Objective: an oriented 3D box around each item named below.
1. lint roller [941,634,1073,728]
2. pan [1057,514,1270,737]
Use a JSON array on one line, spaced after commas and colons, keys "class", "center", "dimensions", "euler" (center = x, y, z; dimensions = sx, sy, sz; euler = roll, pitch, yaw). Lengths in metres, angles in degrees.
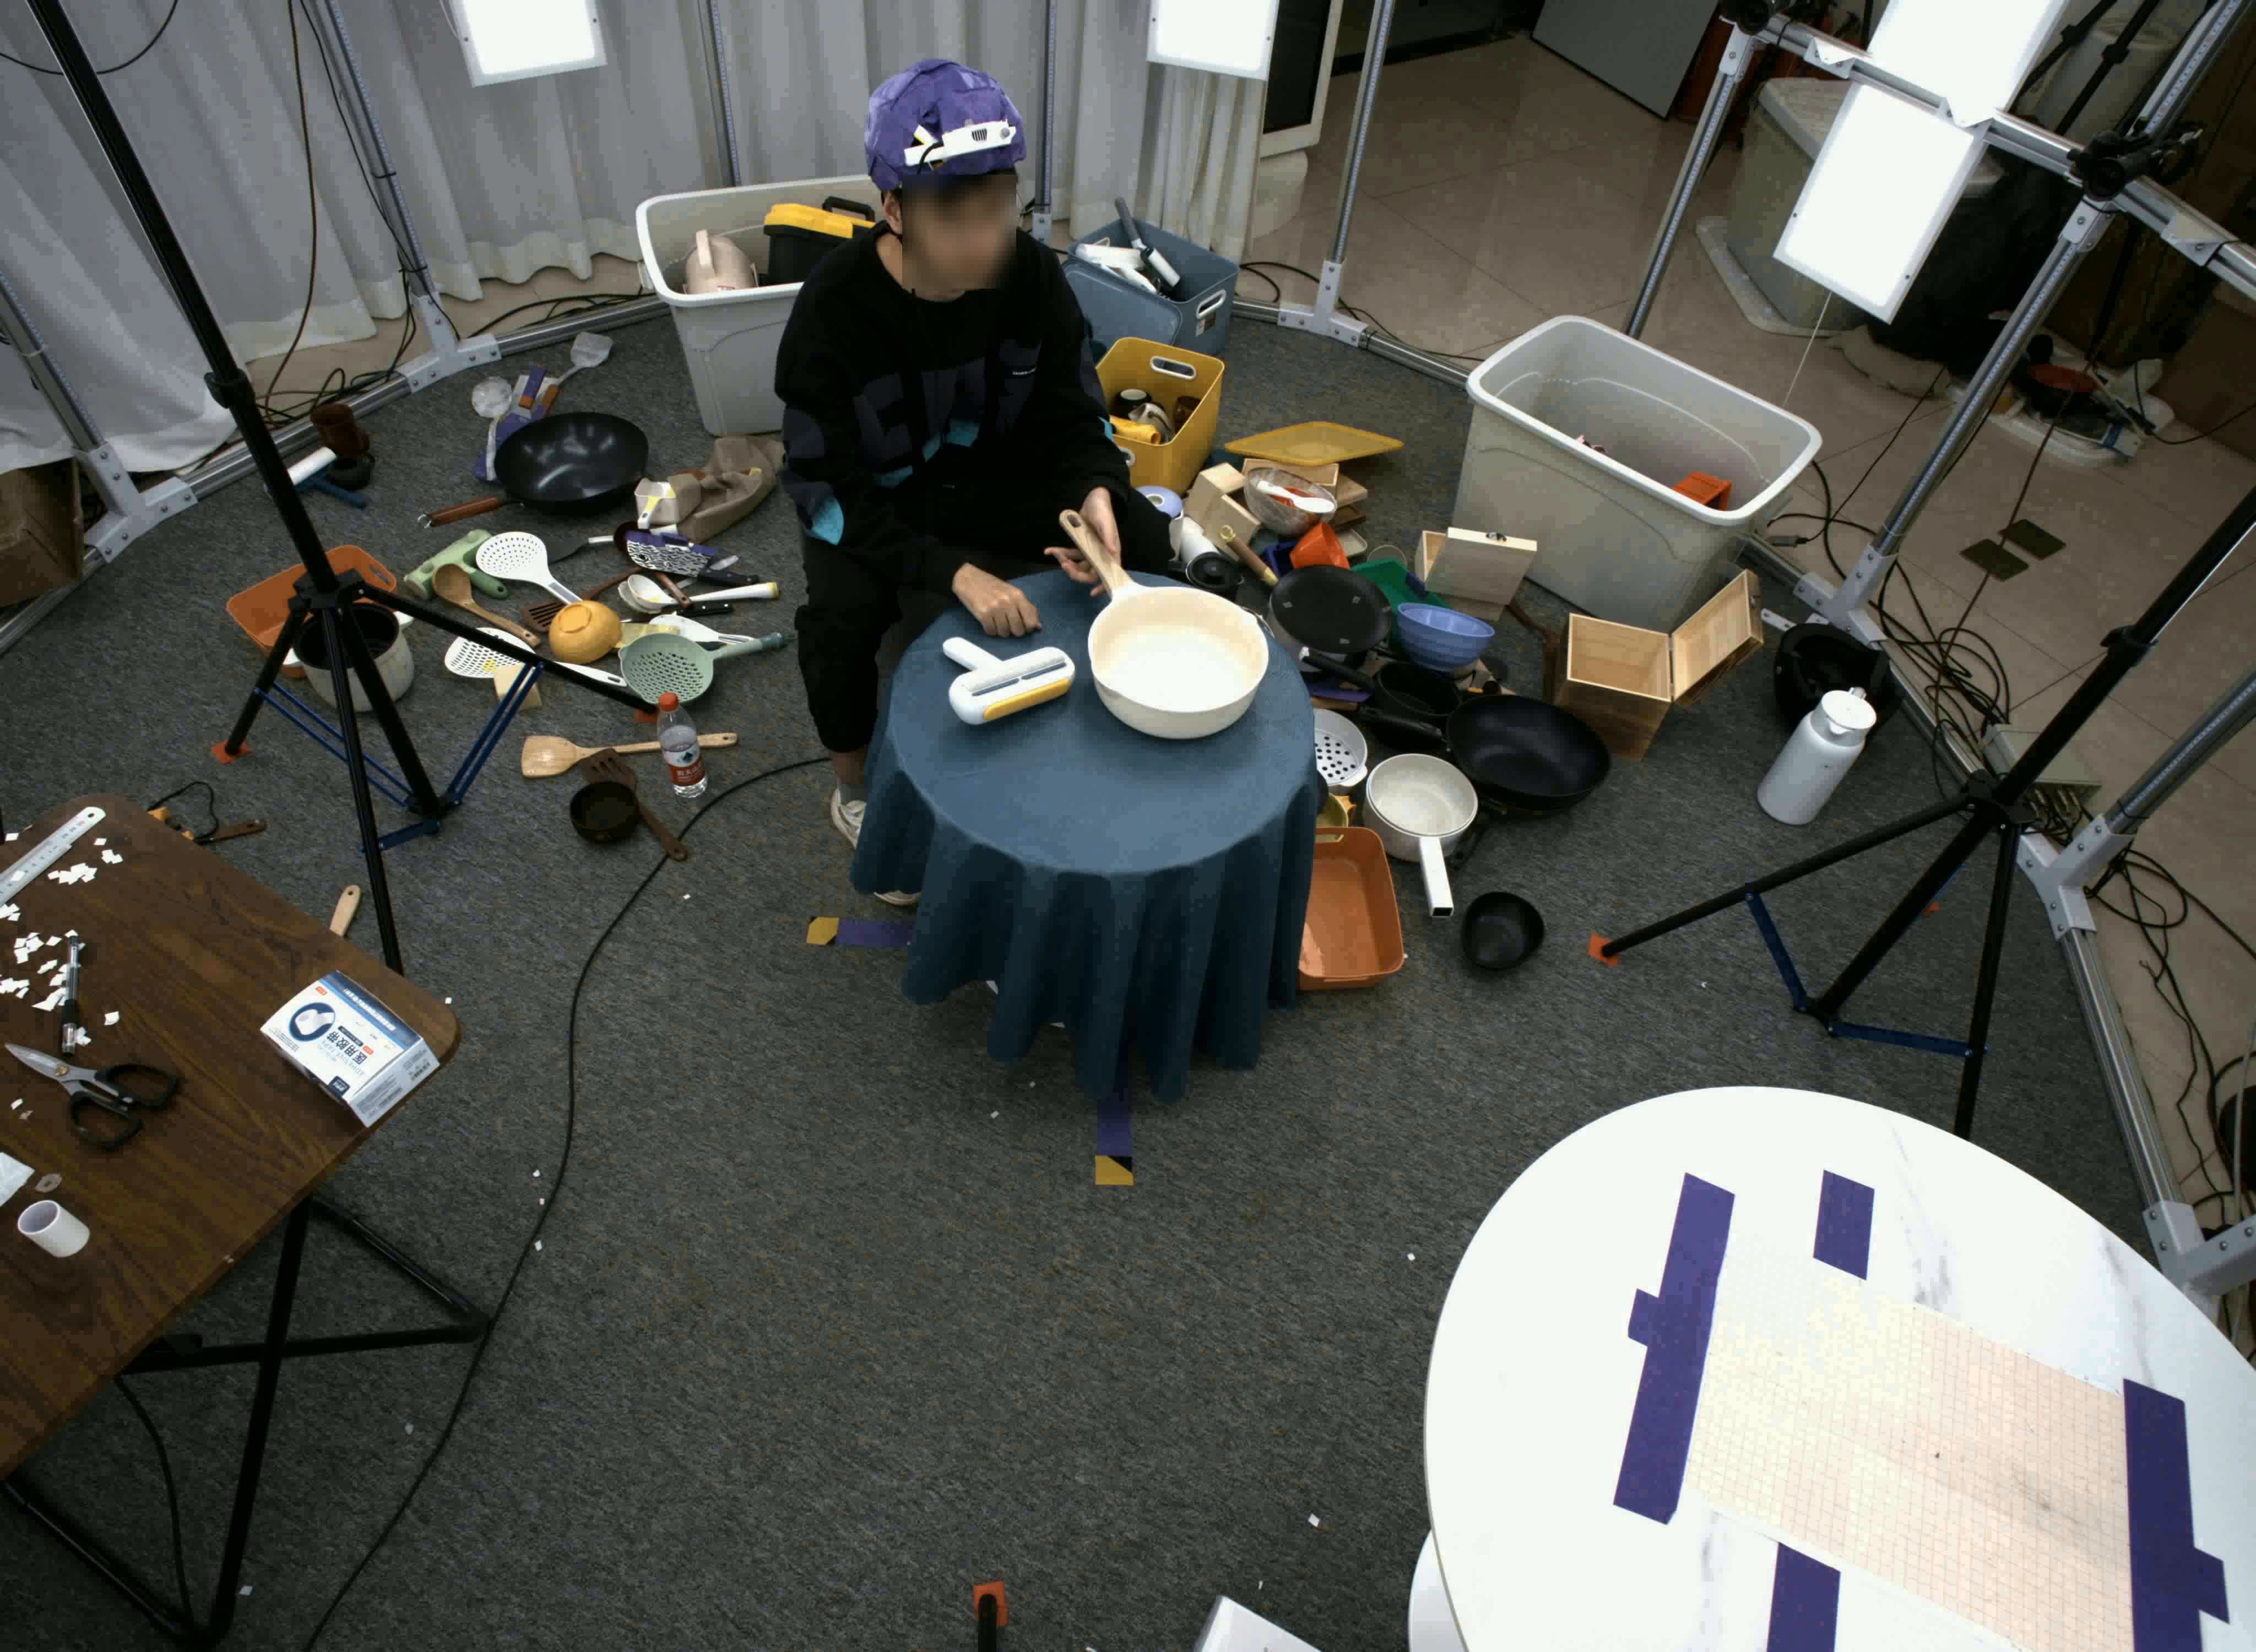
[{"class": "lint roller", "center": [-0.198, -0.223, 1.805], "dimensions": [0.193, 0.072, 0.196], "euler": [-23, 52, -28]}, {"class": "pan", "center": [0.022, -0.294, 1.860], "dimensions": [0.264, 0.099, 0.443], "euler": [-26, 56, -21]}]
